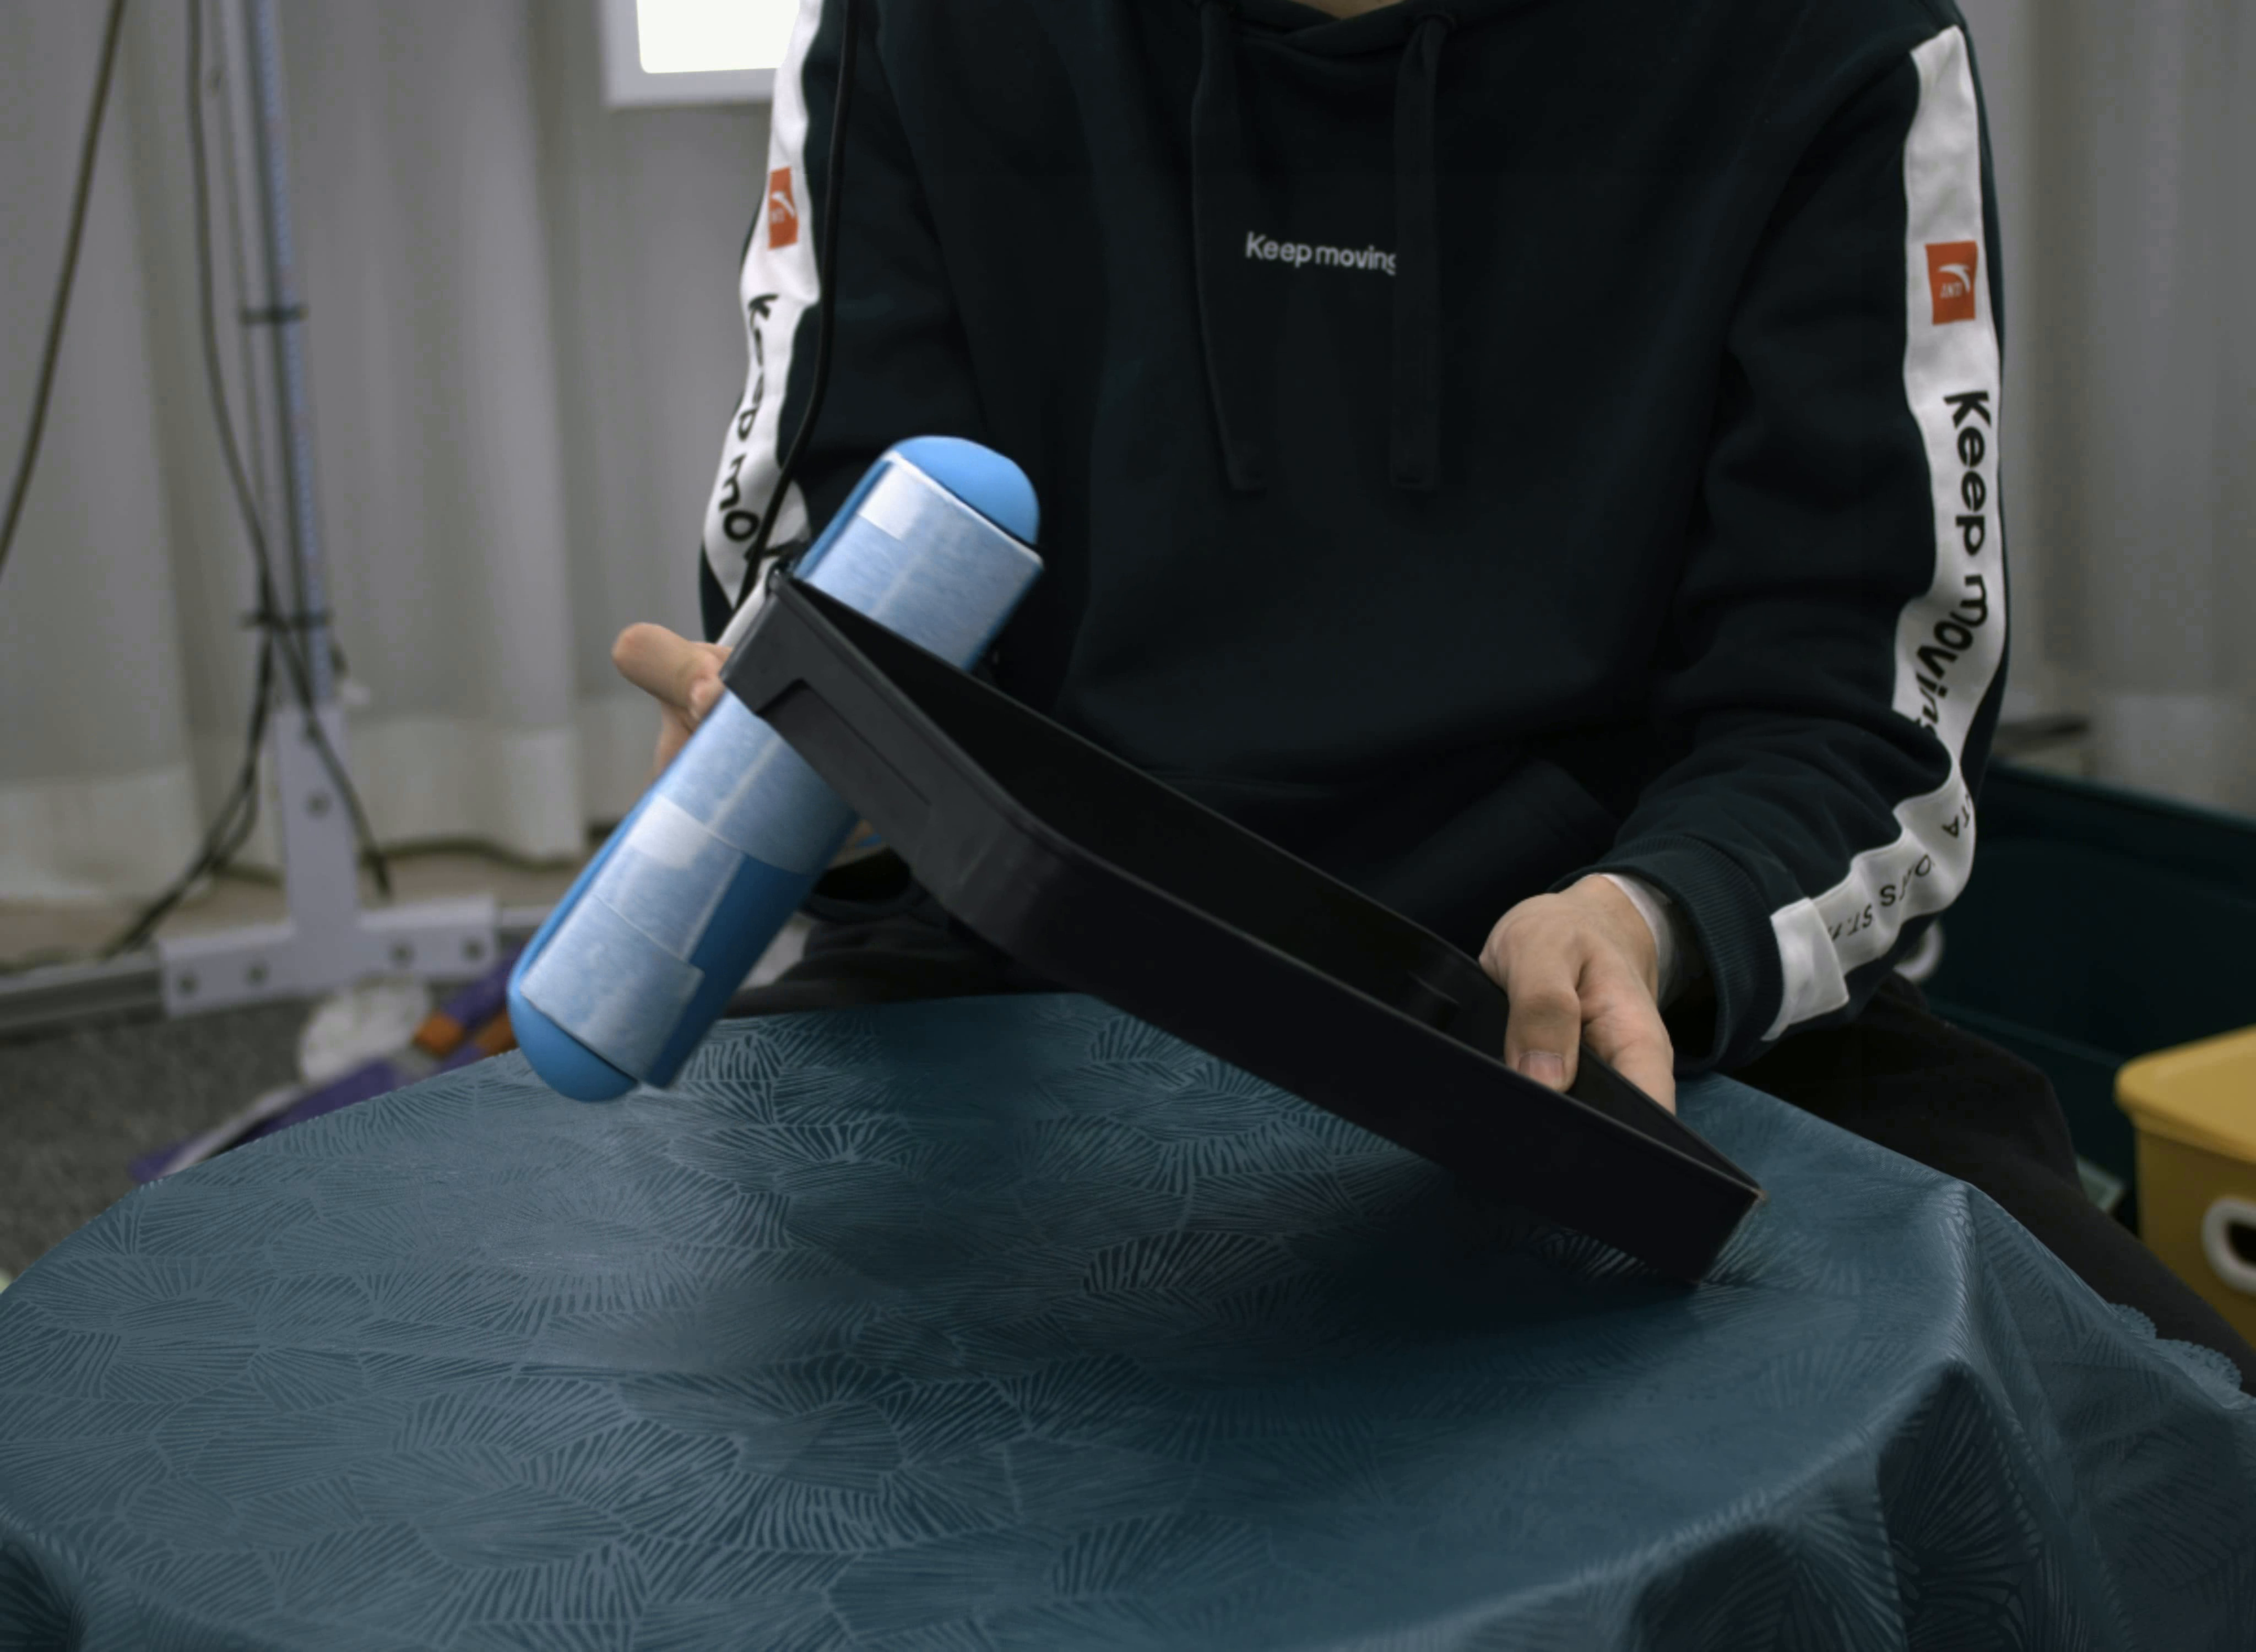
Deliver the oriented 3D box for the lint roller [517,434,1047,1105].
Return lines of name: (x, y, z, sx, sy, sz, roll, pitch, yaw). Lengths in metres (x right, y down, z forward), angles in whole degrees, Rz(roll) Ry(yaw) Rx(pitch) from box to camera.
lint roller: (-0.100, -0.014, 1.667, 0.068, 0.229, 0.180, 34, -3, 1)

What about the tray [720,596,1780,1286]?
tray: (0.037, 0.036, 1.573, 0.314, 0.037, 0.186, 26, 9, -40)
